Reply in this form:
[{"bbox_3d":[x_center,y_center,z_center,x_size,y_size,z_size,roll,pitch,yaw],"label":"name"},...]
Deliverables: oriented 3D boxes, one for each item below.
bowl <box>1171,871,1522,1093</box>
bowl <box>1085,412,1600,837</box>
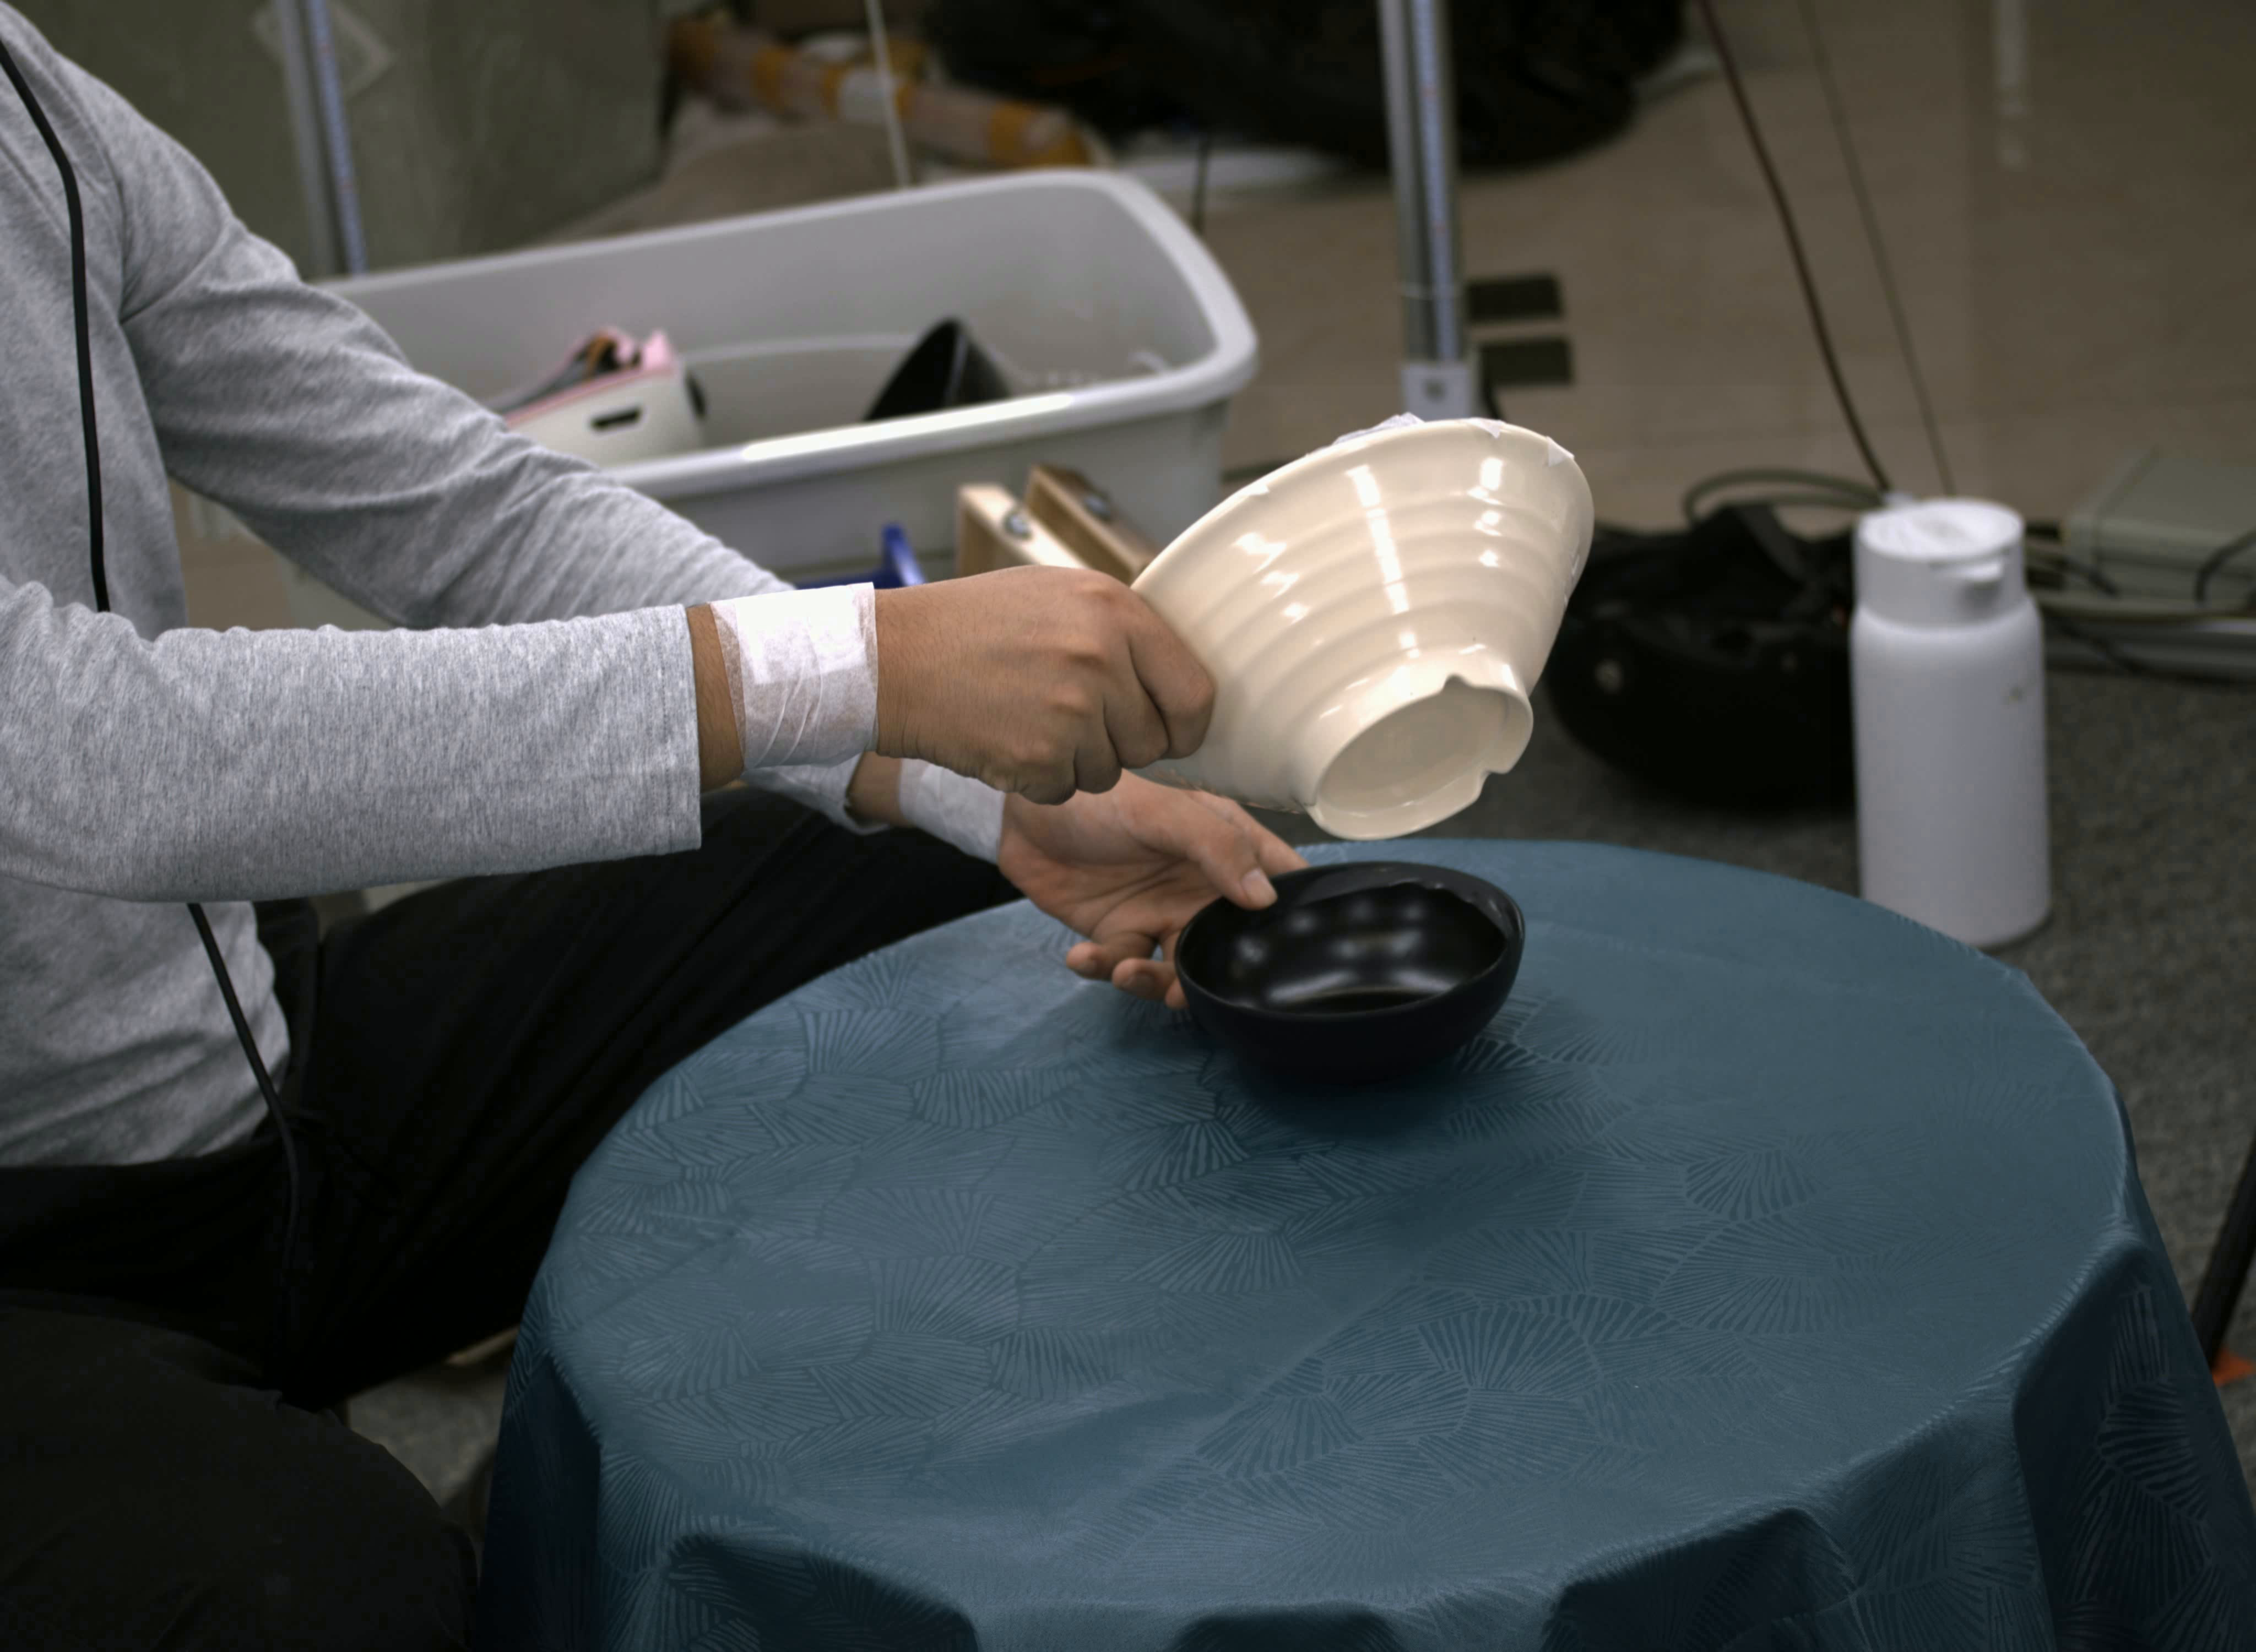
[{"bbox_3d":[0.089,0.068,2.232,0.140,0.050,0.138,-9,22,4],"label":"bowl"},{"bbox_3d":[0.092,-0.053,2.048,0.203,0.208,0.077,-15,58,-18],"label":"bowl"}]
